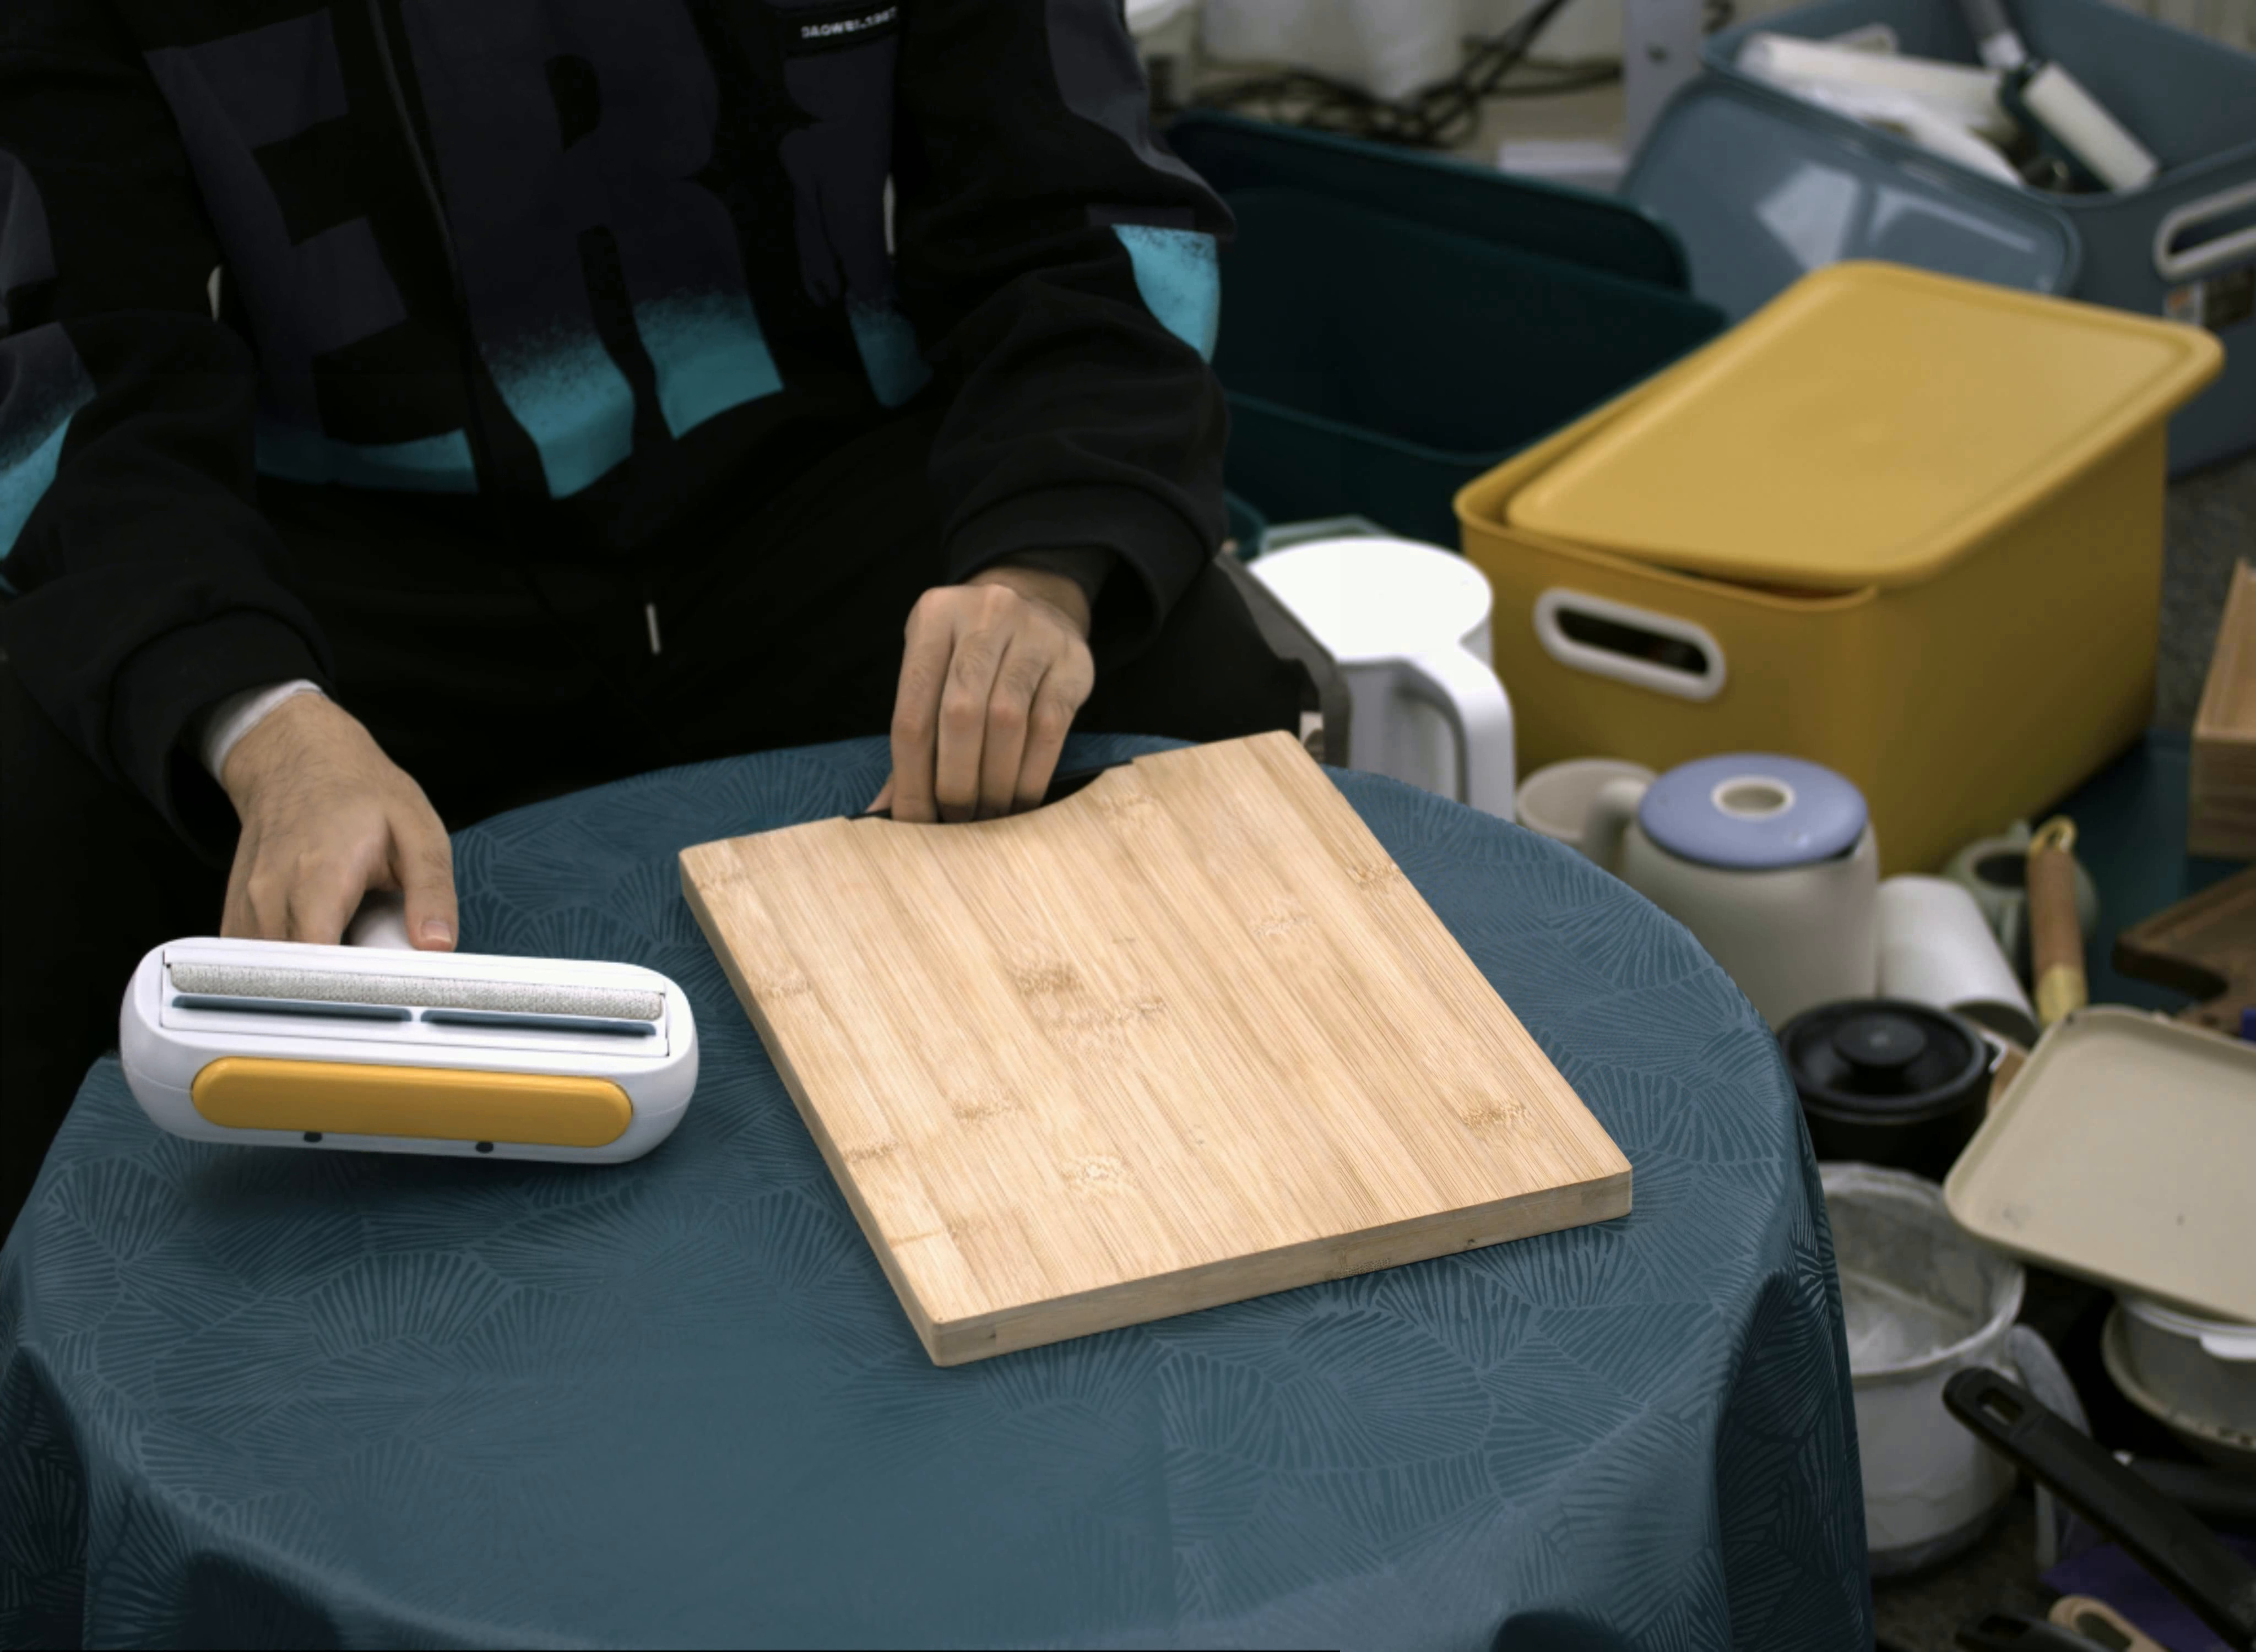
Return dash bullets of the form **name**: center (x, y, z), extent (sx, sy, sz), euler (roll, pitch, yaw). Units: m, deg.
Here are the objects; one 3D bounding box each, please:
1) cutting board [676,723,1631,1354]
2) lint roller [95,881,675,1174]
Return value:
- **cutting board**: center (-0.001, 0.067, 1.948), extent (0.251, 0.023, 0.352), euler (-11, 29, -15)
- **lint roller**: center (-0.253, 0.056, 1.936), extent (0.192, 0.073, 0.195), euler (2, 27, -6)
